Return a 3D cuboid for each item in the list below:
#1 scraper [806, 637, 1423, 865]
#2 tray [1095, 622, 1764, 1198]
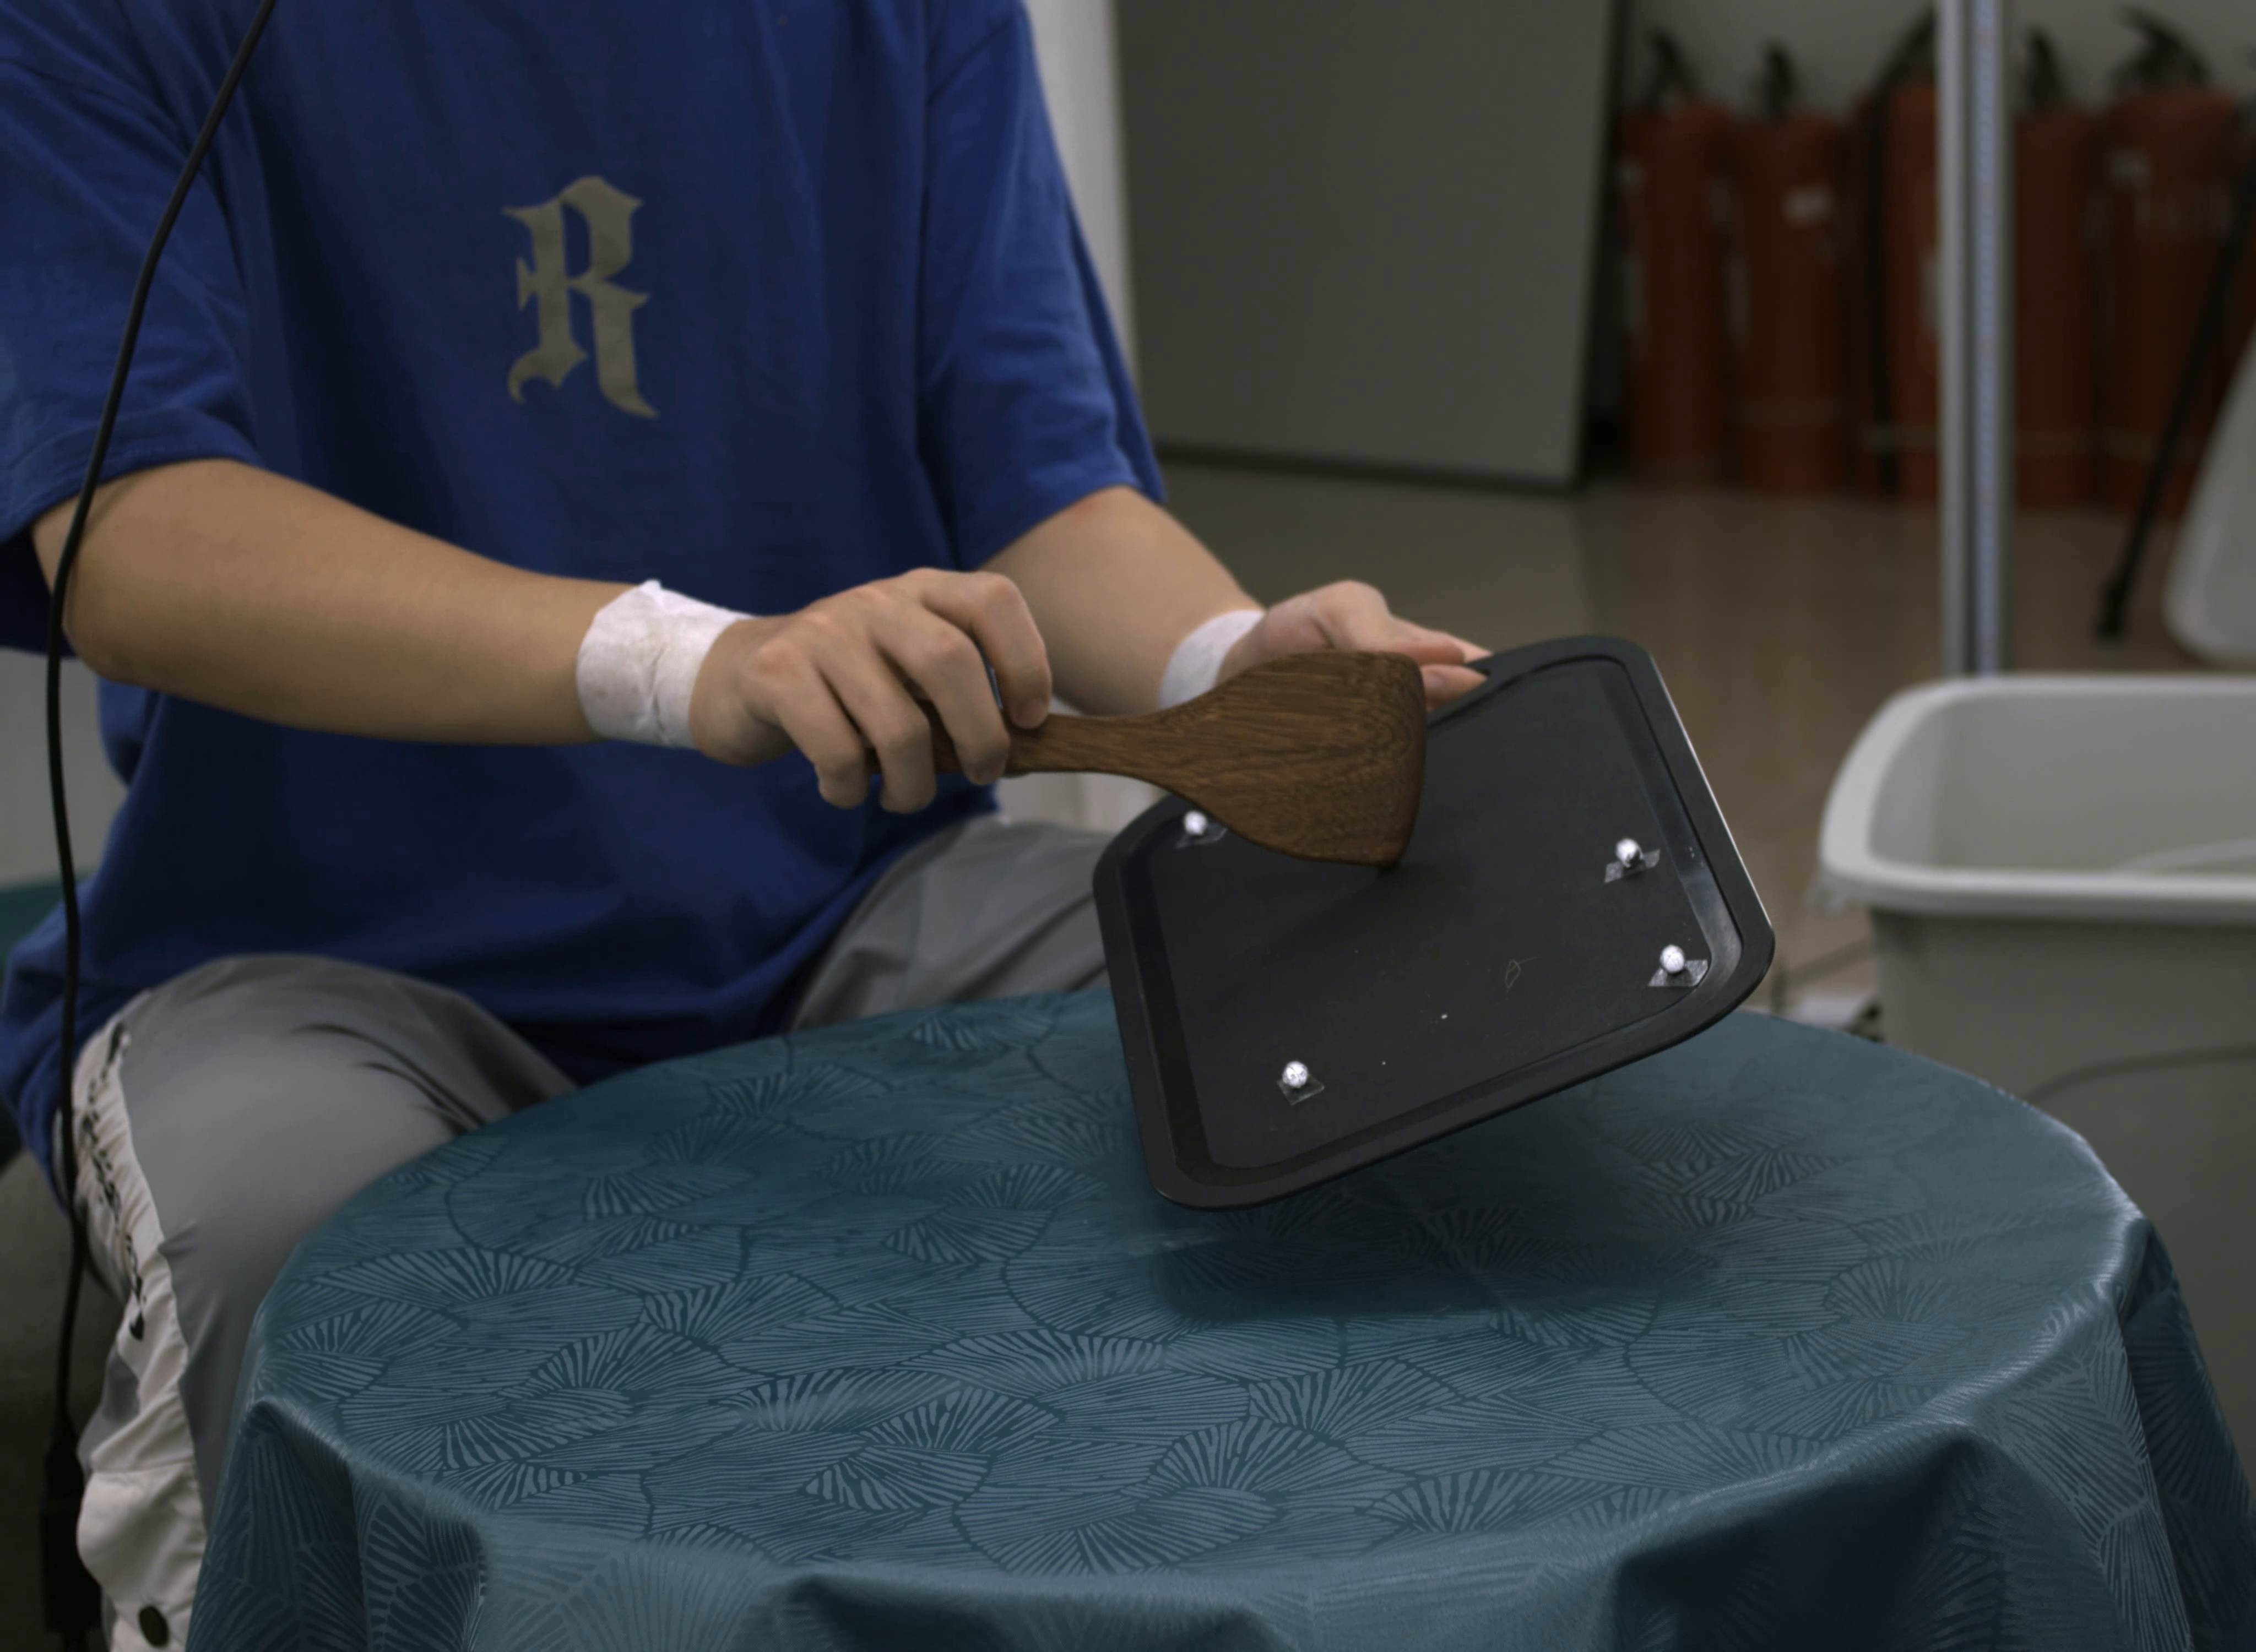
[{"bbox_3d":[-0.006,-0.028,1.804,0.210,0.077,0.011,2,-8,11],"label":"scraper"},{"bbox_3d":[0.090,0.018,1.770,0.210,0.010,0.327,-23,24,6],"label":"tray"}]
